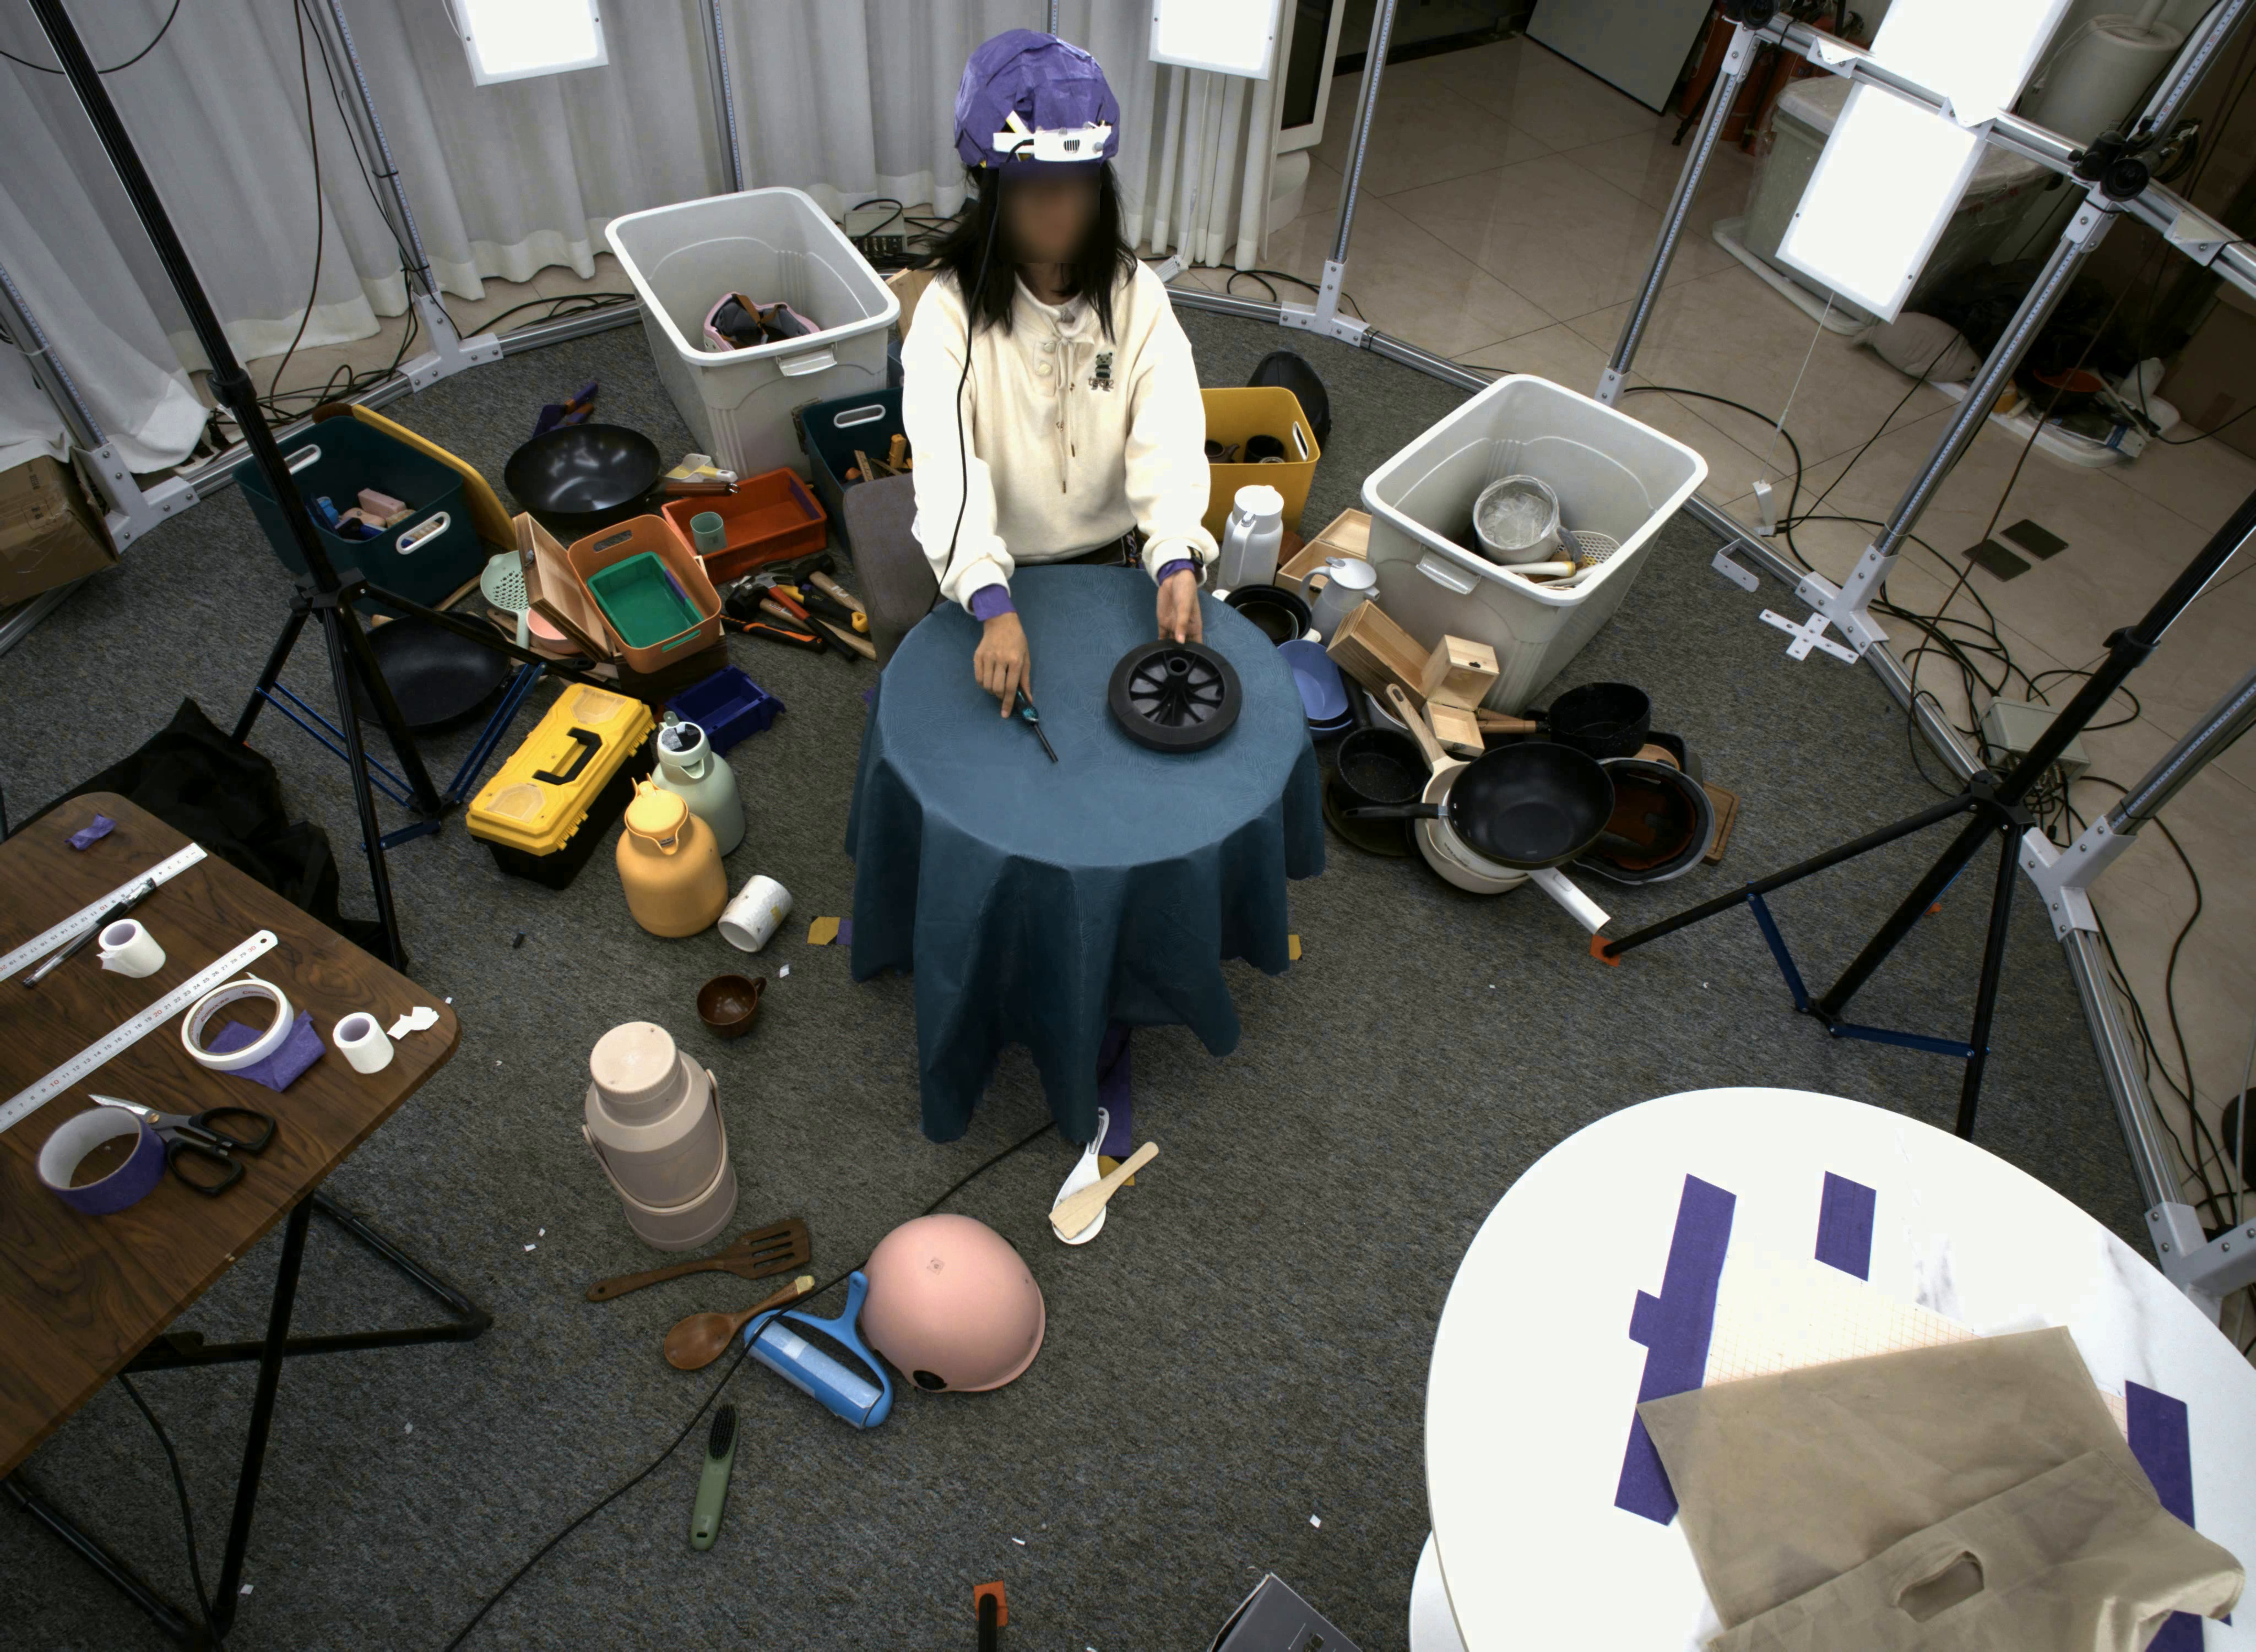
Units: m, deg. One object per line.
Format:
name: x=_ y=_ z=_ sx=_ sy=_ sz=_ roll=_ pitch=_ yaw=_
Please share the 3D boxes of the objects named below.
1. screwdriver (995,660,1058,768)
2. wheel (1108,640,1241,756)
screwdriver: x=-0.138 y=-0.154 z=1.779 sx=0.034 sy=0.033 sz=0.194 roll=-18 pitch=60 yaw=-19
wheel: x=0.066 y=-0.193 z=1.787 sx=0.187 sy=0.077 sz=0.194 roll=3 pitch=59 yaw=0
